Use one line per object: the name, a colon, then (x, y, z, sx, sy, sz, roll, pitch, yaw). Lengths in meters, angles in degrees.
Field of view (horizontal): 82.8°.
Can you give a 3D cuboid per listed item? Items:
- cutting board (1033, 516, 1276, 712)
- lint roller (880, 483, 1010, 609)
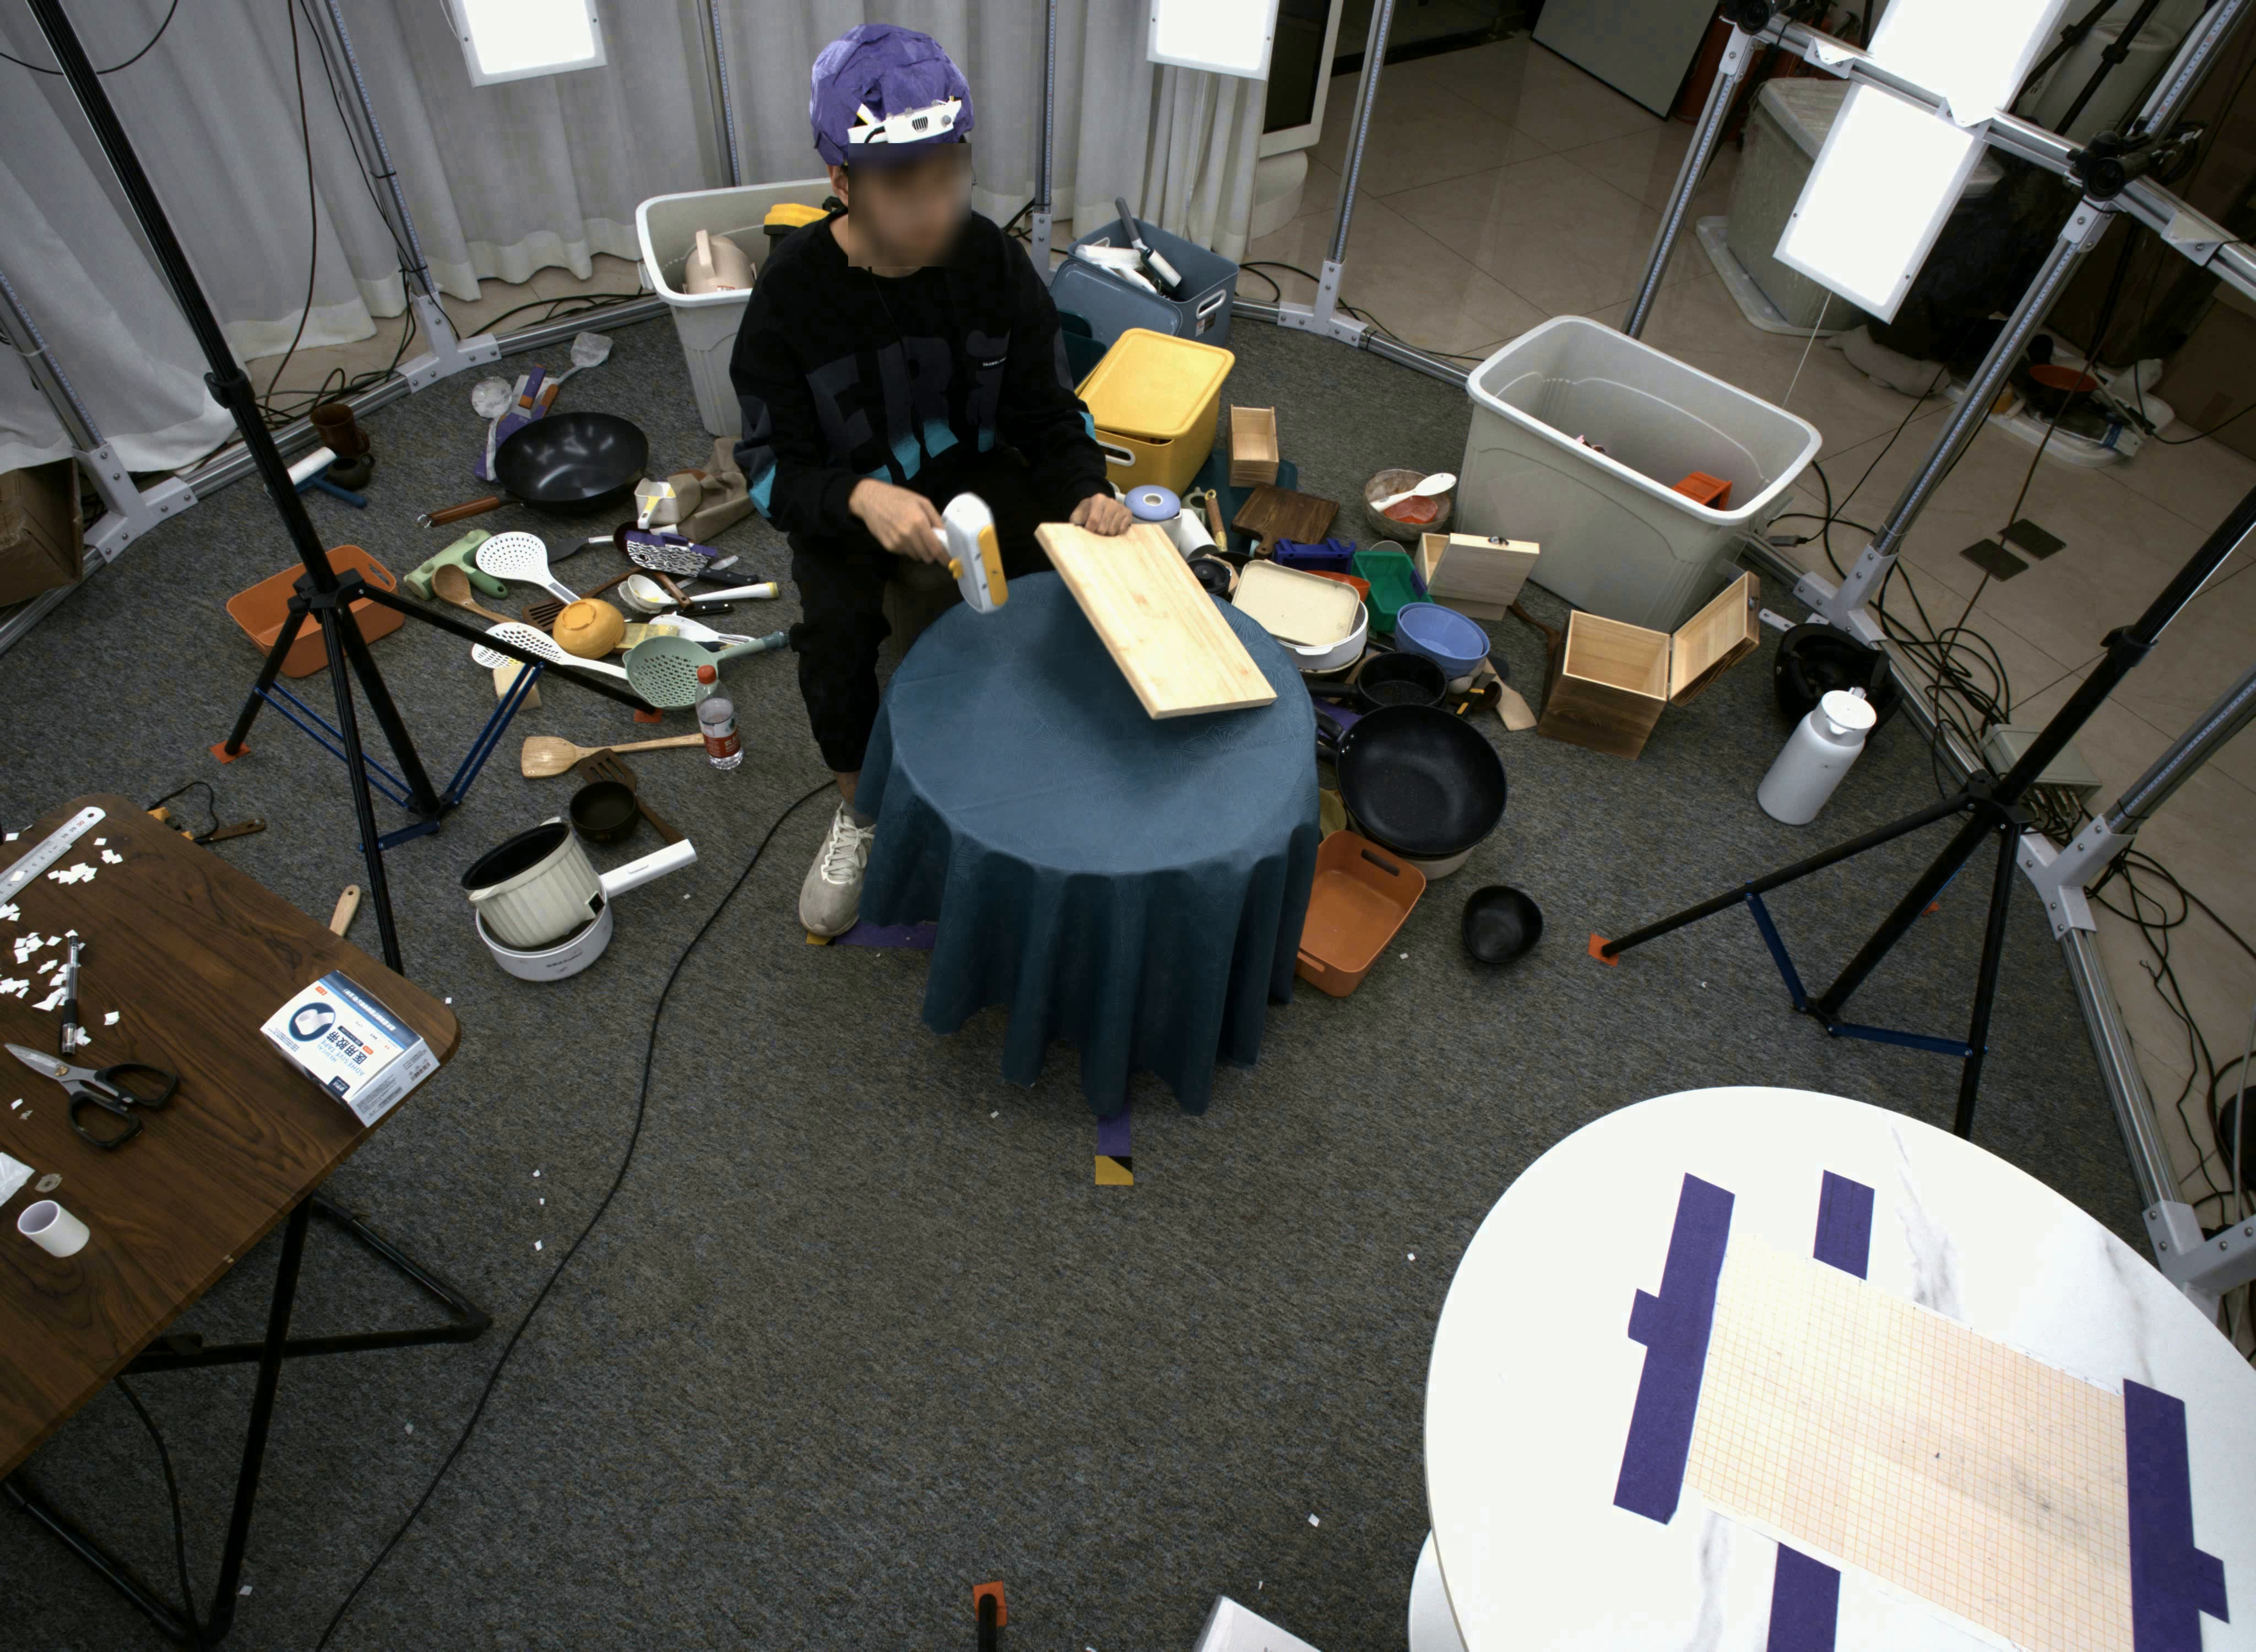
cutting board: (0.038, -0.304, 1.817, 0.250, 0.023, 0.354, -10, 60, -43)
lint roller: (-0.258, -0.399, 1.793, 0.195, 0.188, 0.075, 29, 65, 28)
